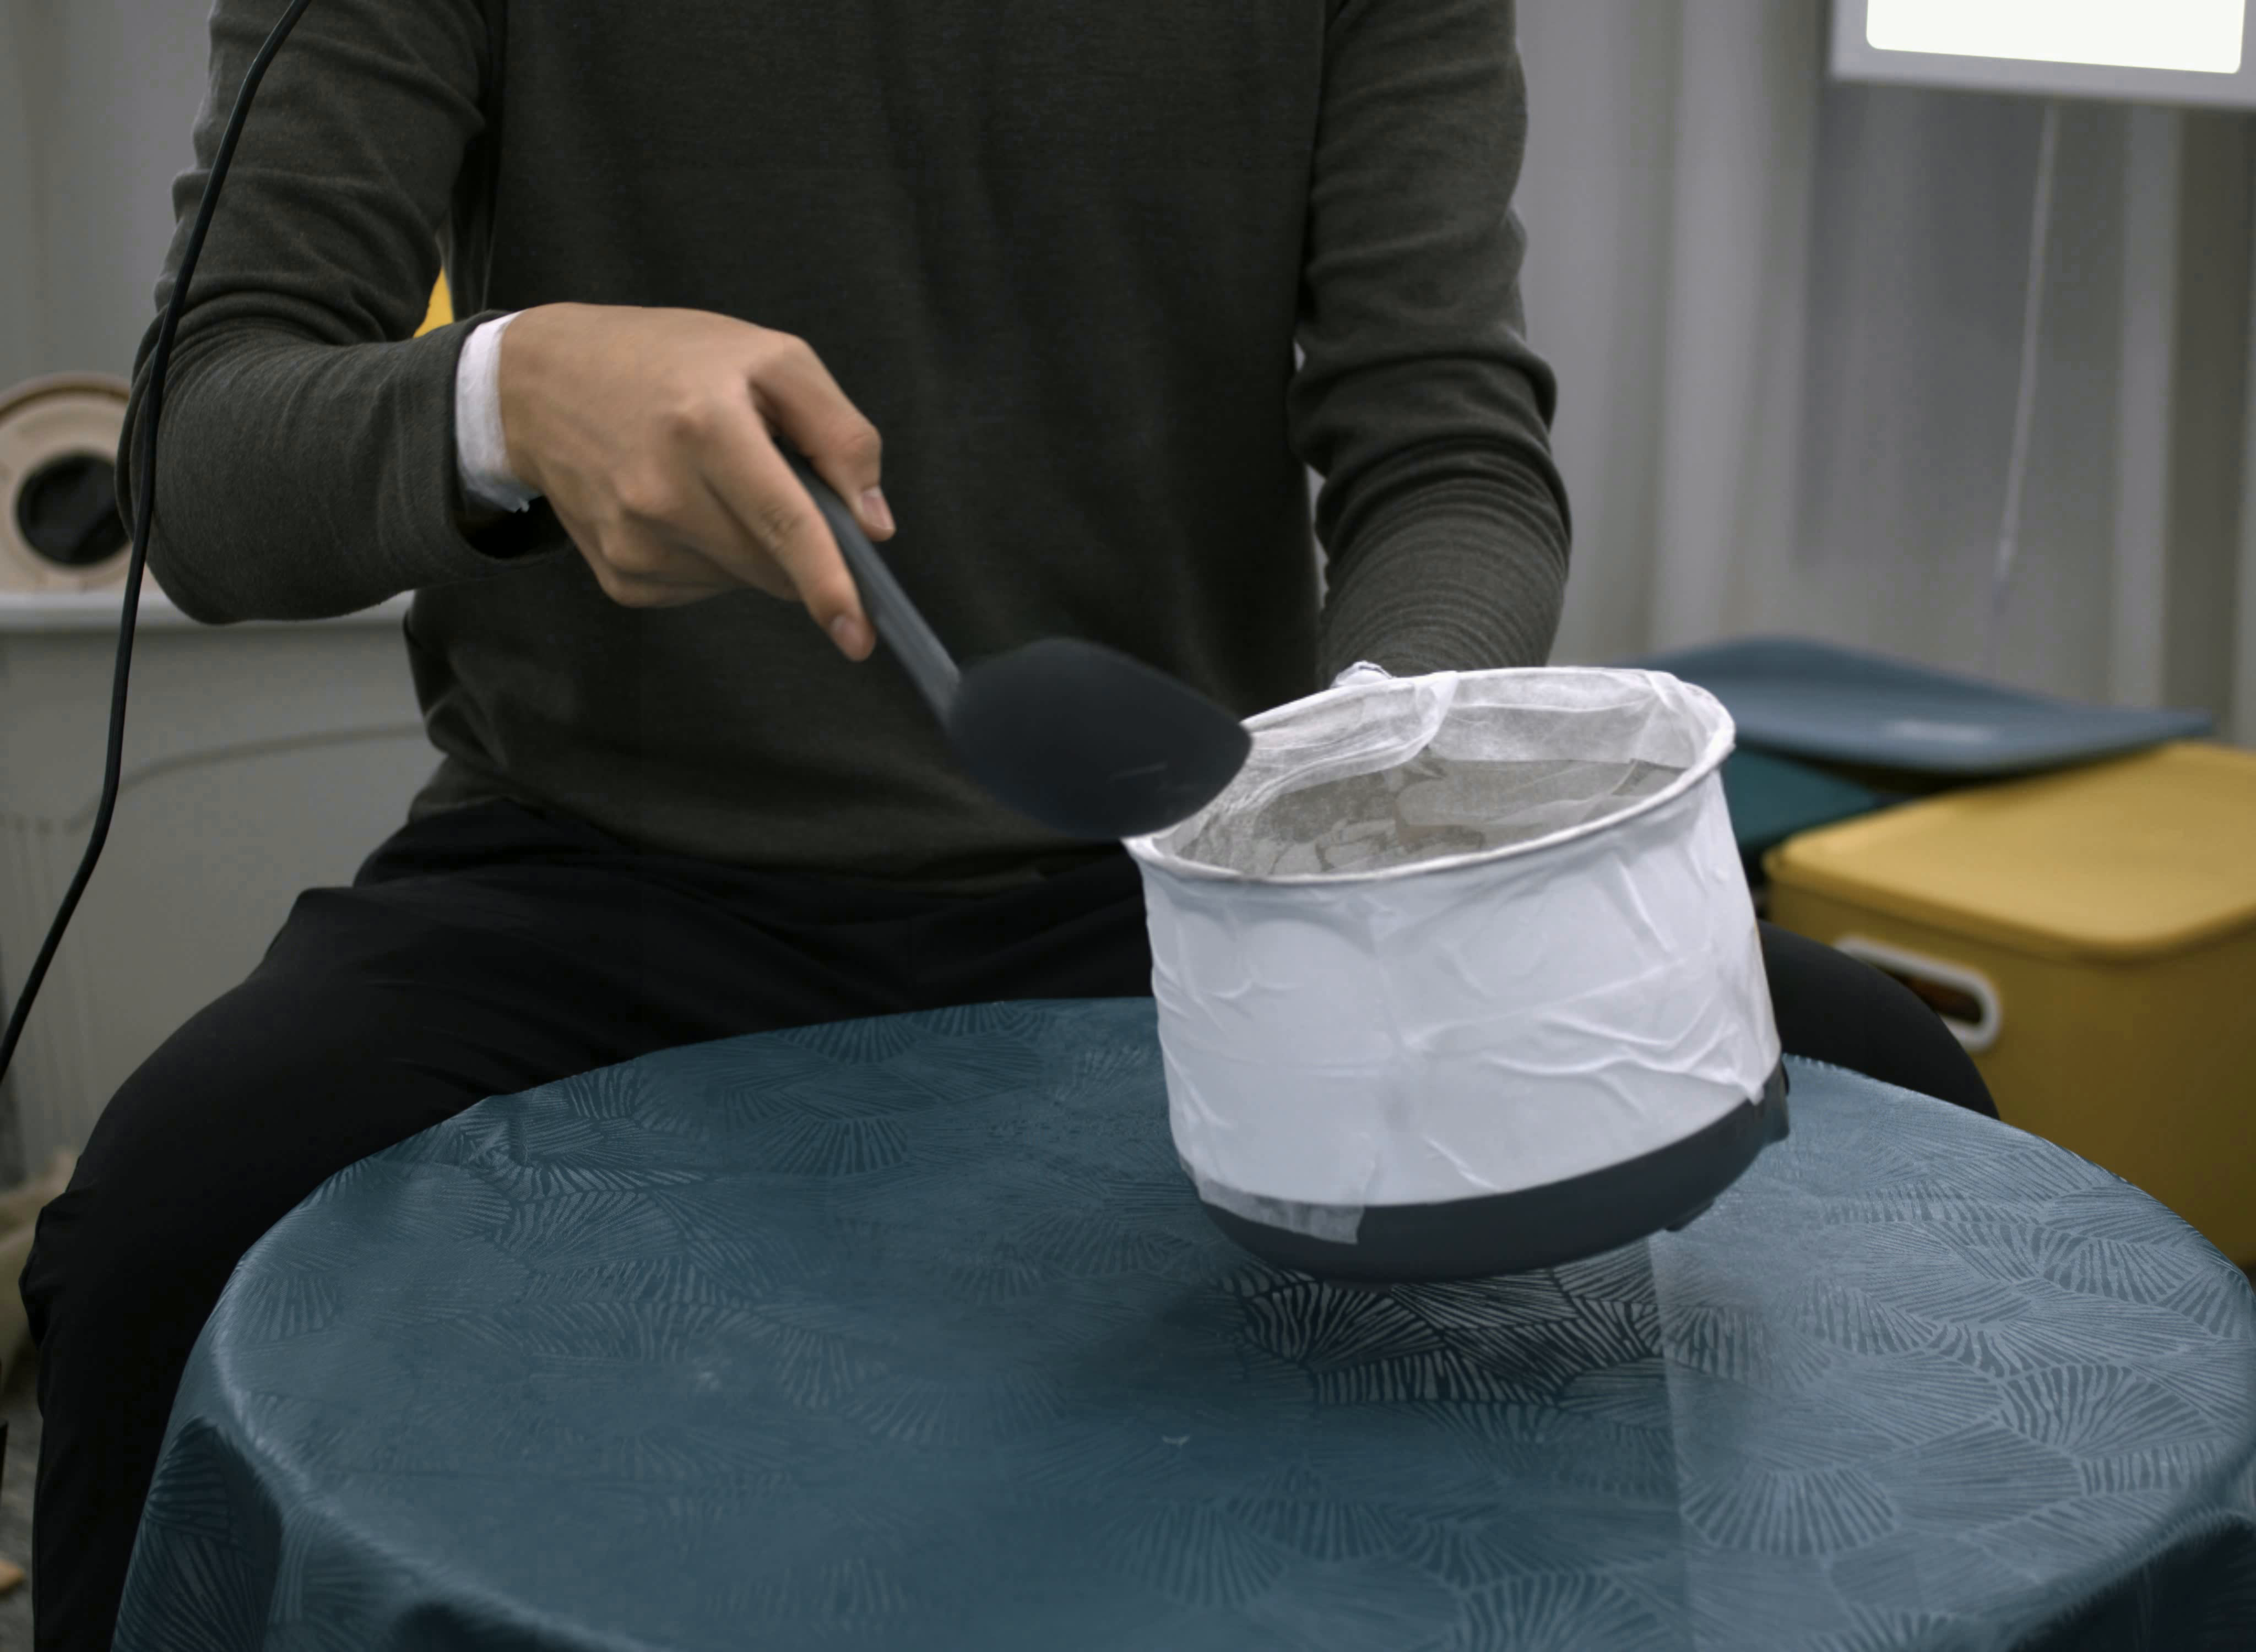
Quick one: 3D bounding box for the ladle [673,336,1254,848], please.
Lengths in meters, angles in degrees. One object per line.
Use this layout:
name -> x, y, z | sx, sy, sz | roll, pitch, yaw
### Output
ladle -> -0.061, -0.086, 1.495 | 0.087, 0.064, 0.310 | 32, 13, -38

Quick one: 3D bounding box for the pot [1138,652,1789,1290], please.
pot -> 0.090, 0.034, 1.523 | 0.178, 0.138, 0.231 | -11, 18, -6
